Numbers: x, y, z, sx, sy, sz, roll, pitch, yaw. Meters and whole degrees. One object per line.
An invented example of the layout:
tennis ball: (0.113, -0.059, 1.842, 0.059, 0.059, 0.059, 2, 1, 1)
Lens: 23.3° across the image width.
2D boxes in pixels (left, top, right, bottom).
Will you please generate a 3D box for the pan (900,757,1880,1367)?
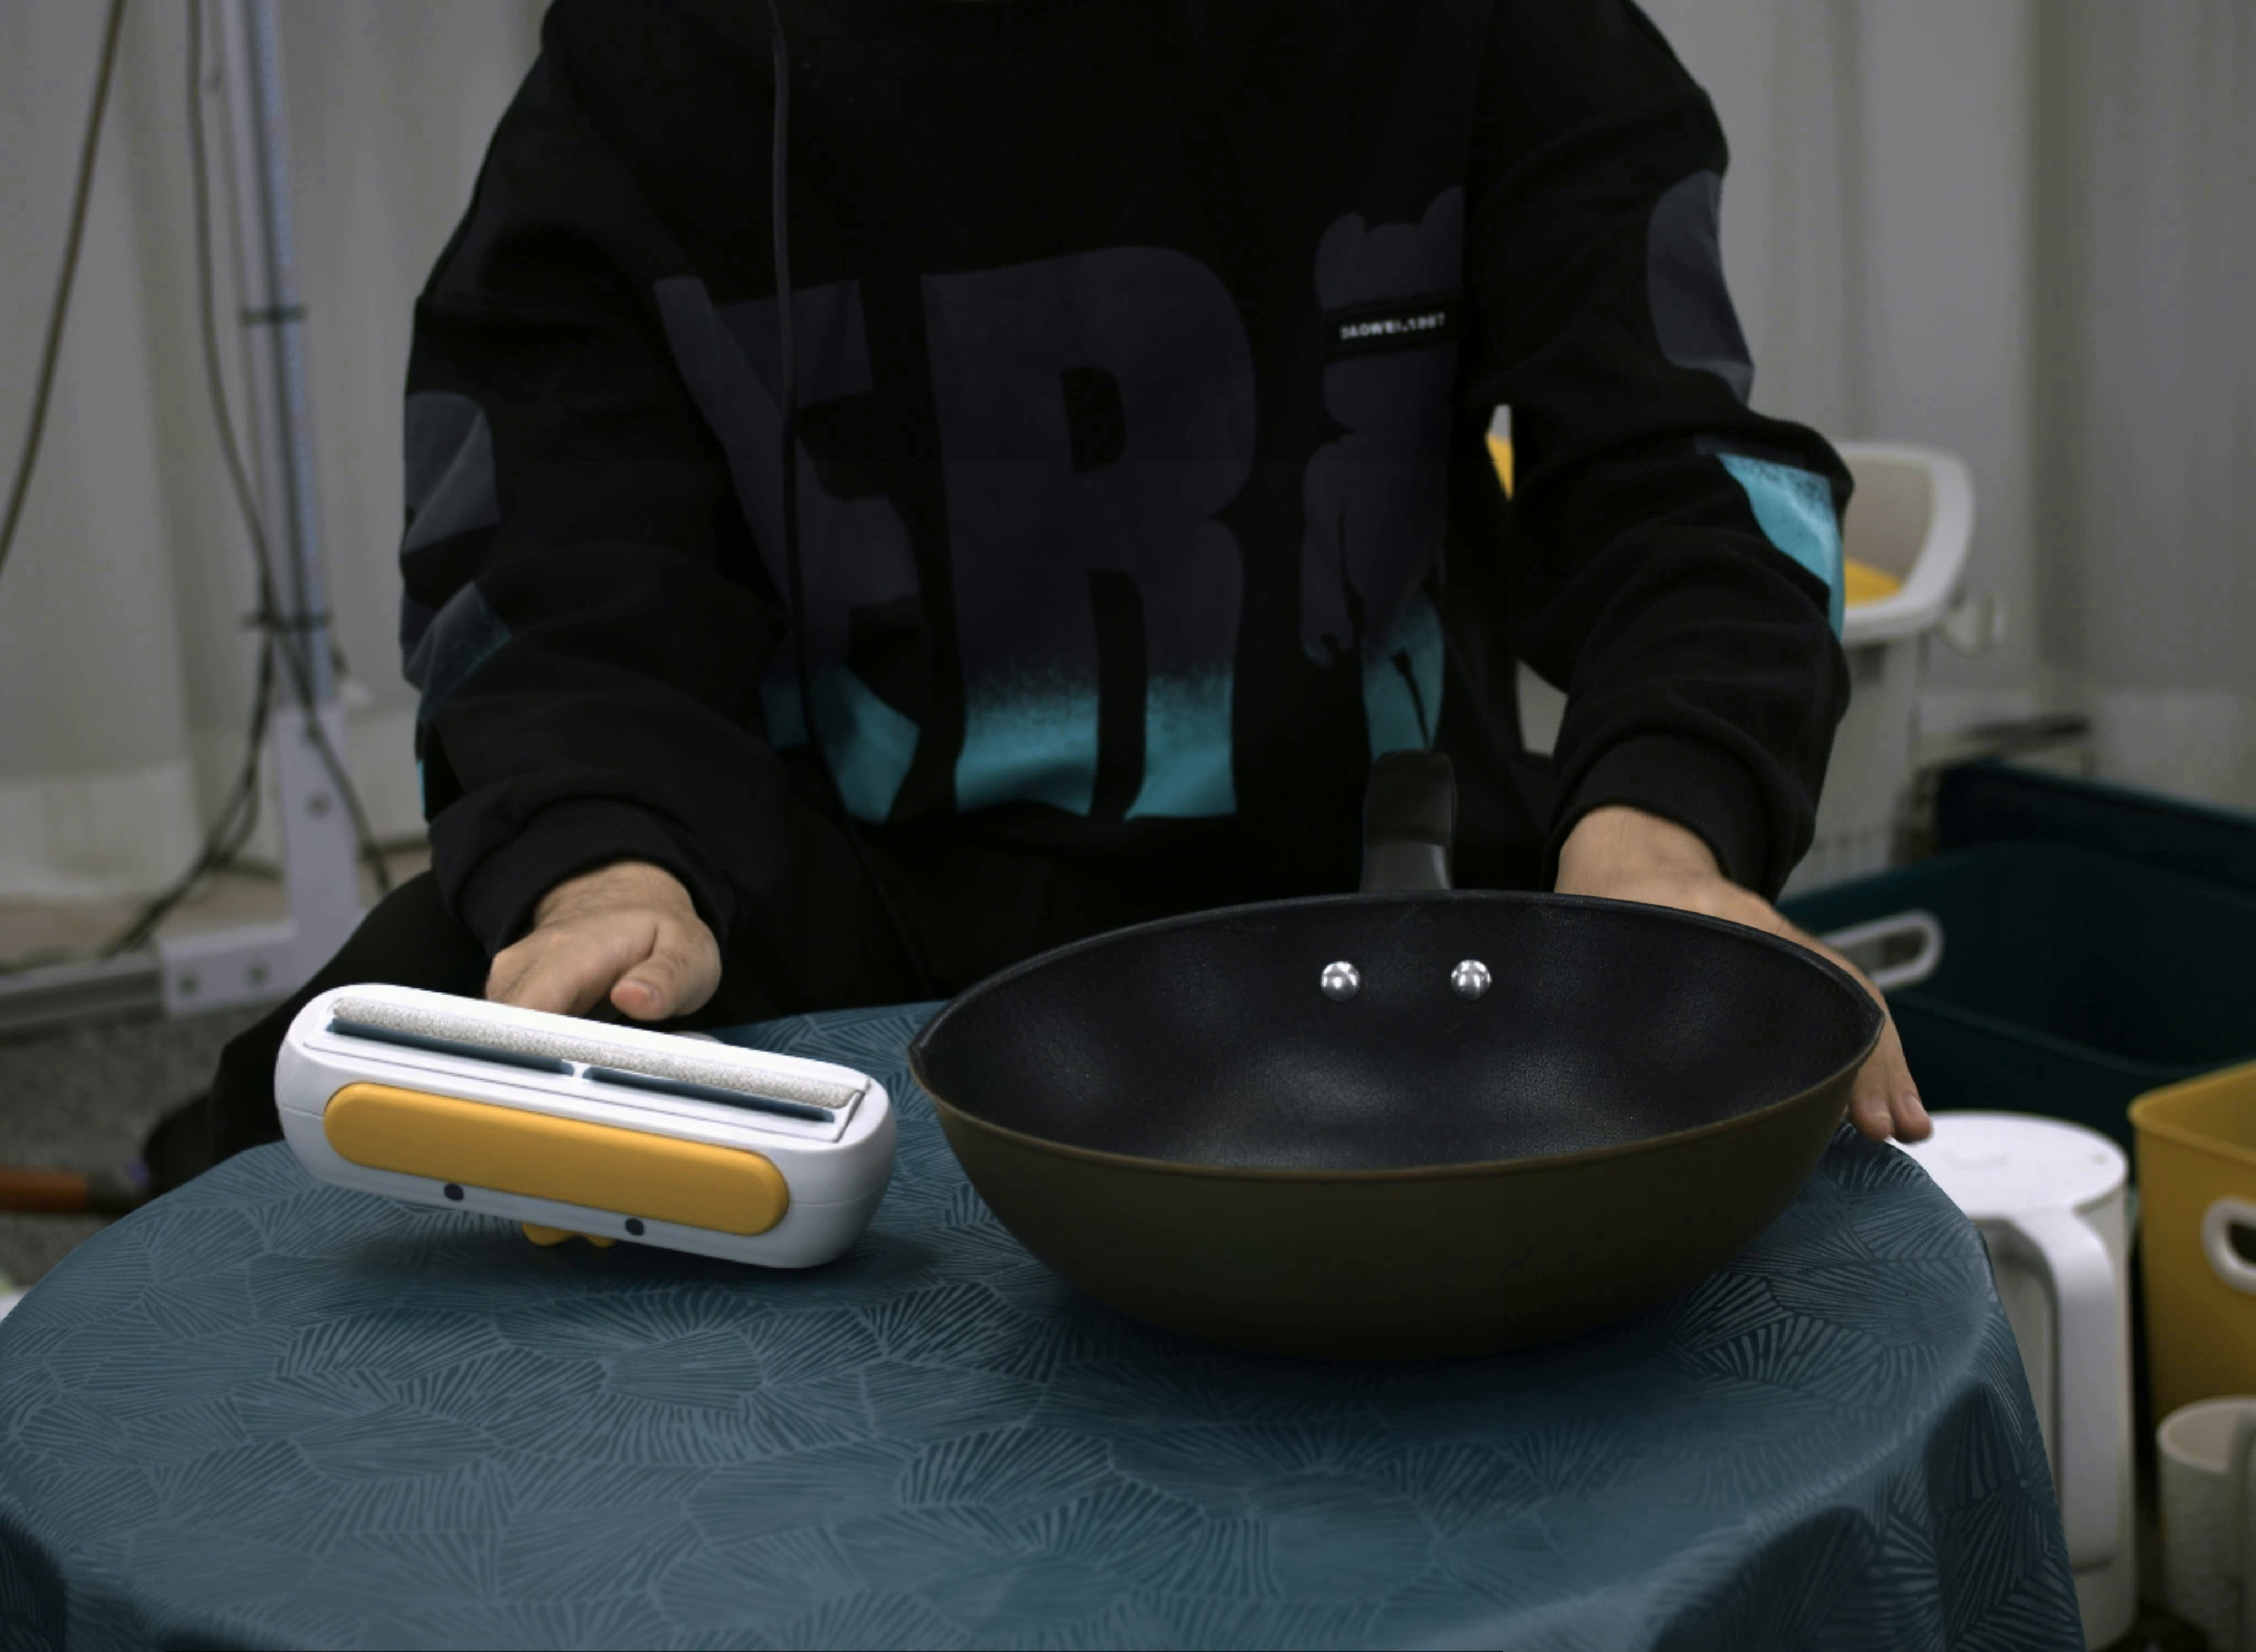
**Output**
pan: (0.084, 0.071, 1.699, 0.287, 0.086, 0.466, -2, 15, 5)

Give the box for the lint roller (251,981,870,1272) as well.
lint roller: (-0.160, 0.084, 1.732, 0.193, 0.074, 0.193, 6, 15, 13)
